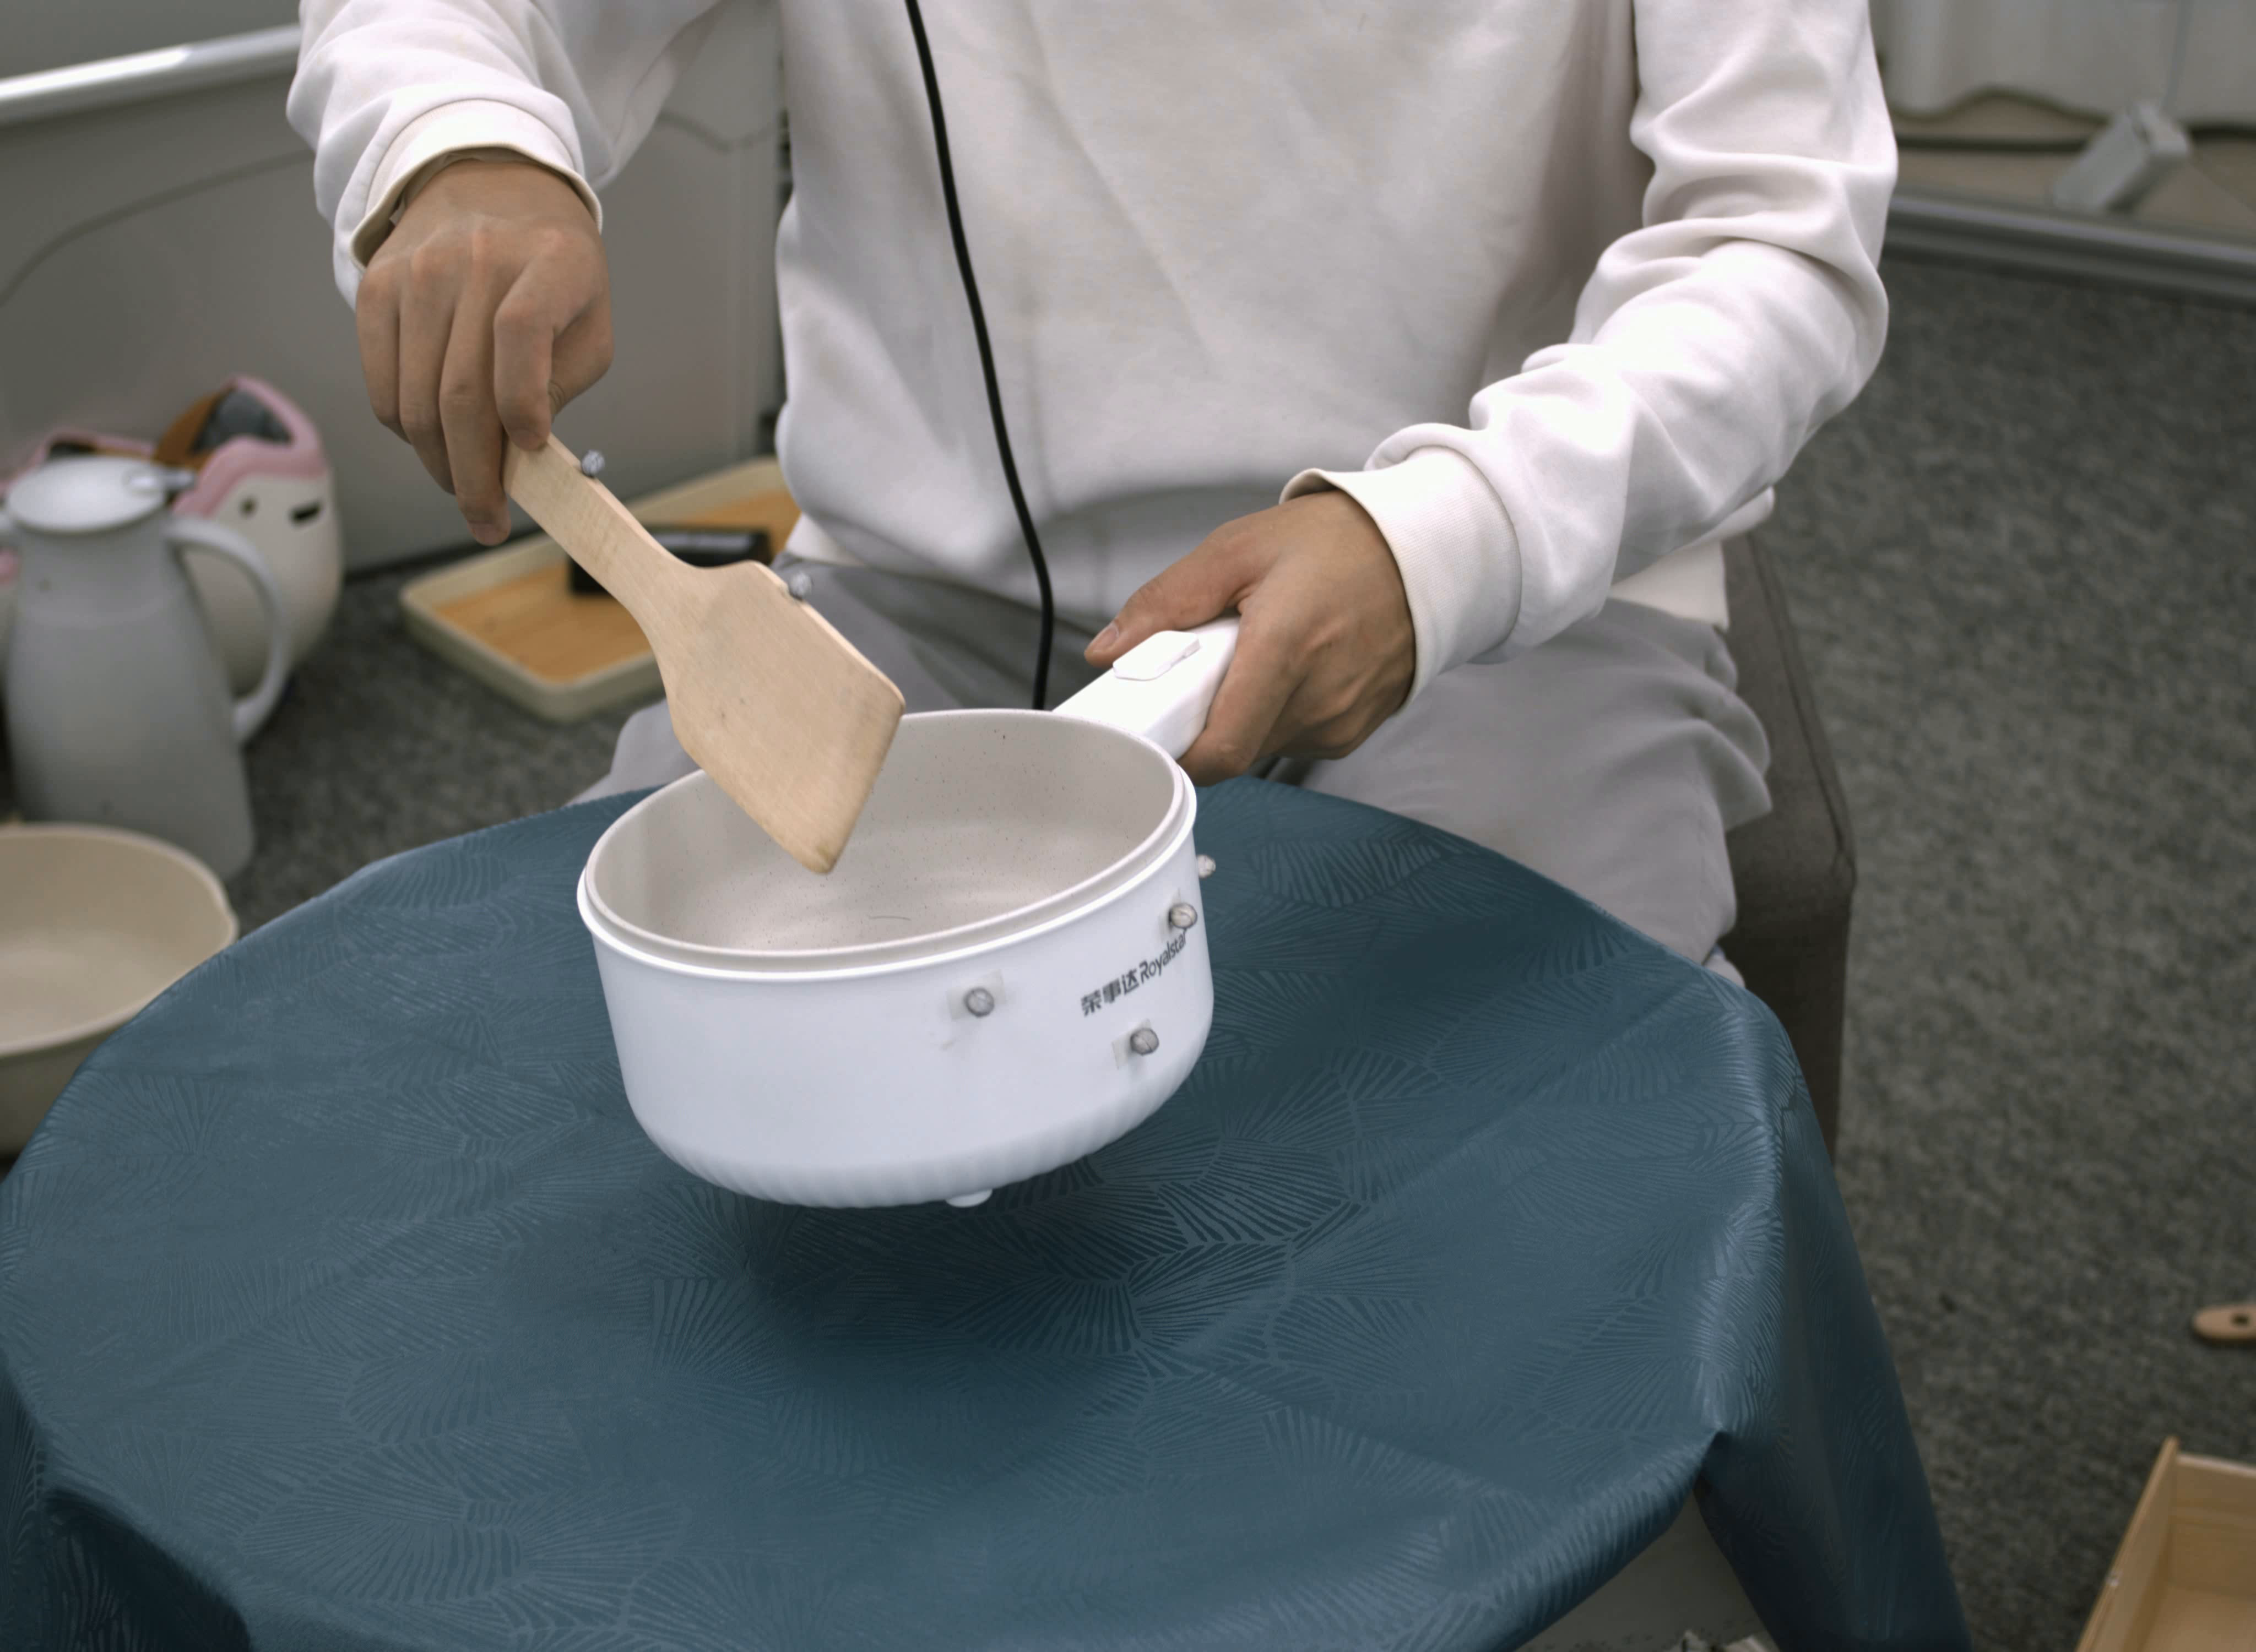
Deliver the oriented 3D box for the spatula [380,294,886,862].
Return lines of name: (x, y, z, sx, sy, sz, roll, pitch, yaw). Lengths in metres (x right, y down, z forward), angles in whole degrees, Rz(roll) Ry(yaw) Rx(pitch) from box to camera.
spatula: (-0.172, -0.096, 1.861, 0.011, 0.071, 0.295, 2, 32, -44)

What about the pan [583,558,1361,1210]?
pan: (-0.028, 0.017, 1.877, 0.199, 0.101, 0.360, 7, 26, 33)
